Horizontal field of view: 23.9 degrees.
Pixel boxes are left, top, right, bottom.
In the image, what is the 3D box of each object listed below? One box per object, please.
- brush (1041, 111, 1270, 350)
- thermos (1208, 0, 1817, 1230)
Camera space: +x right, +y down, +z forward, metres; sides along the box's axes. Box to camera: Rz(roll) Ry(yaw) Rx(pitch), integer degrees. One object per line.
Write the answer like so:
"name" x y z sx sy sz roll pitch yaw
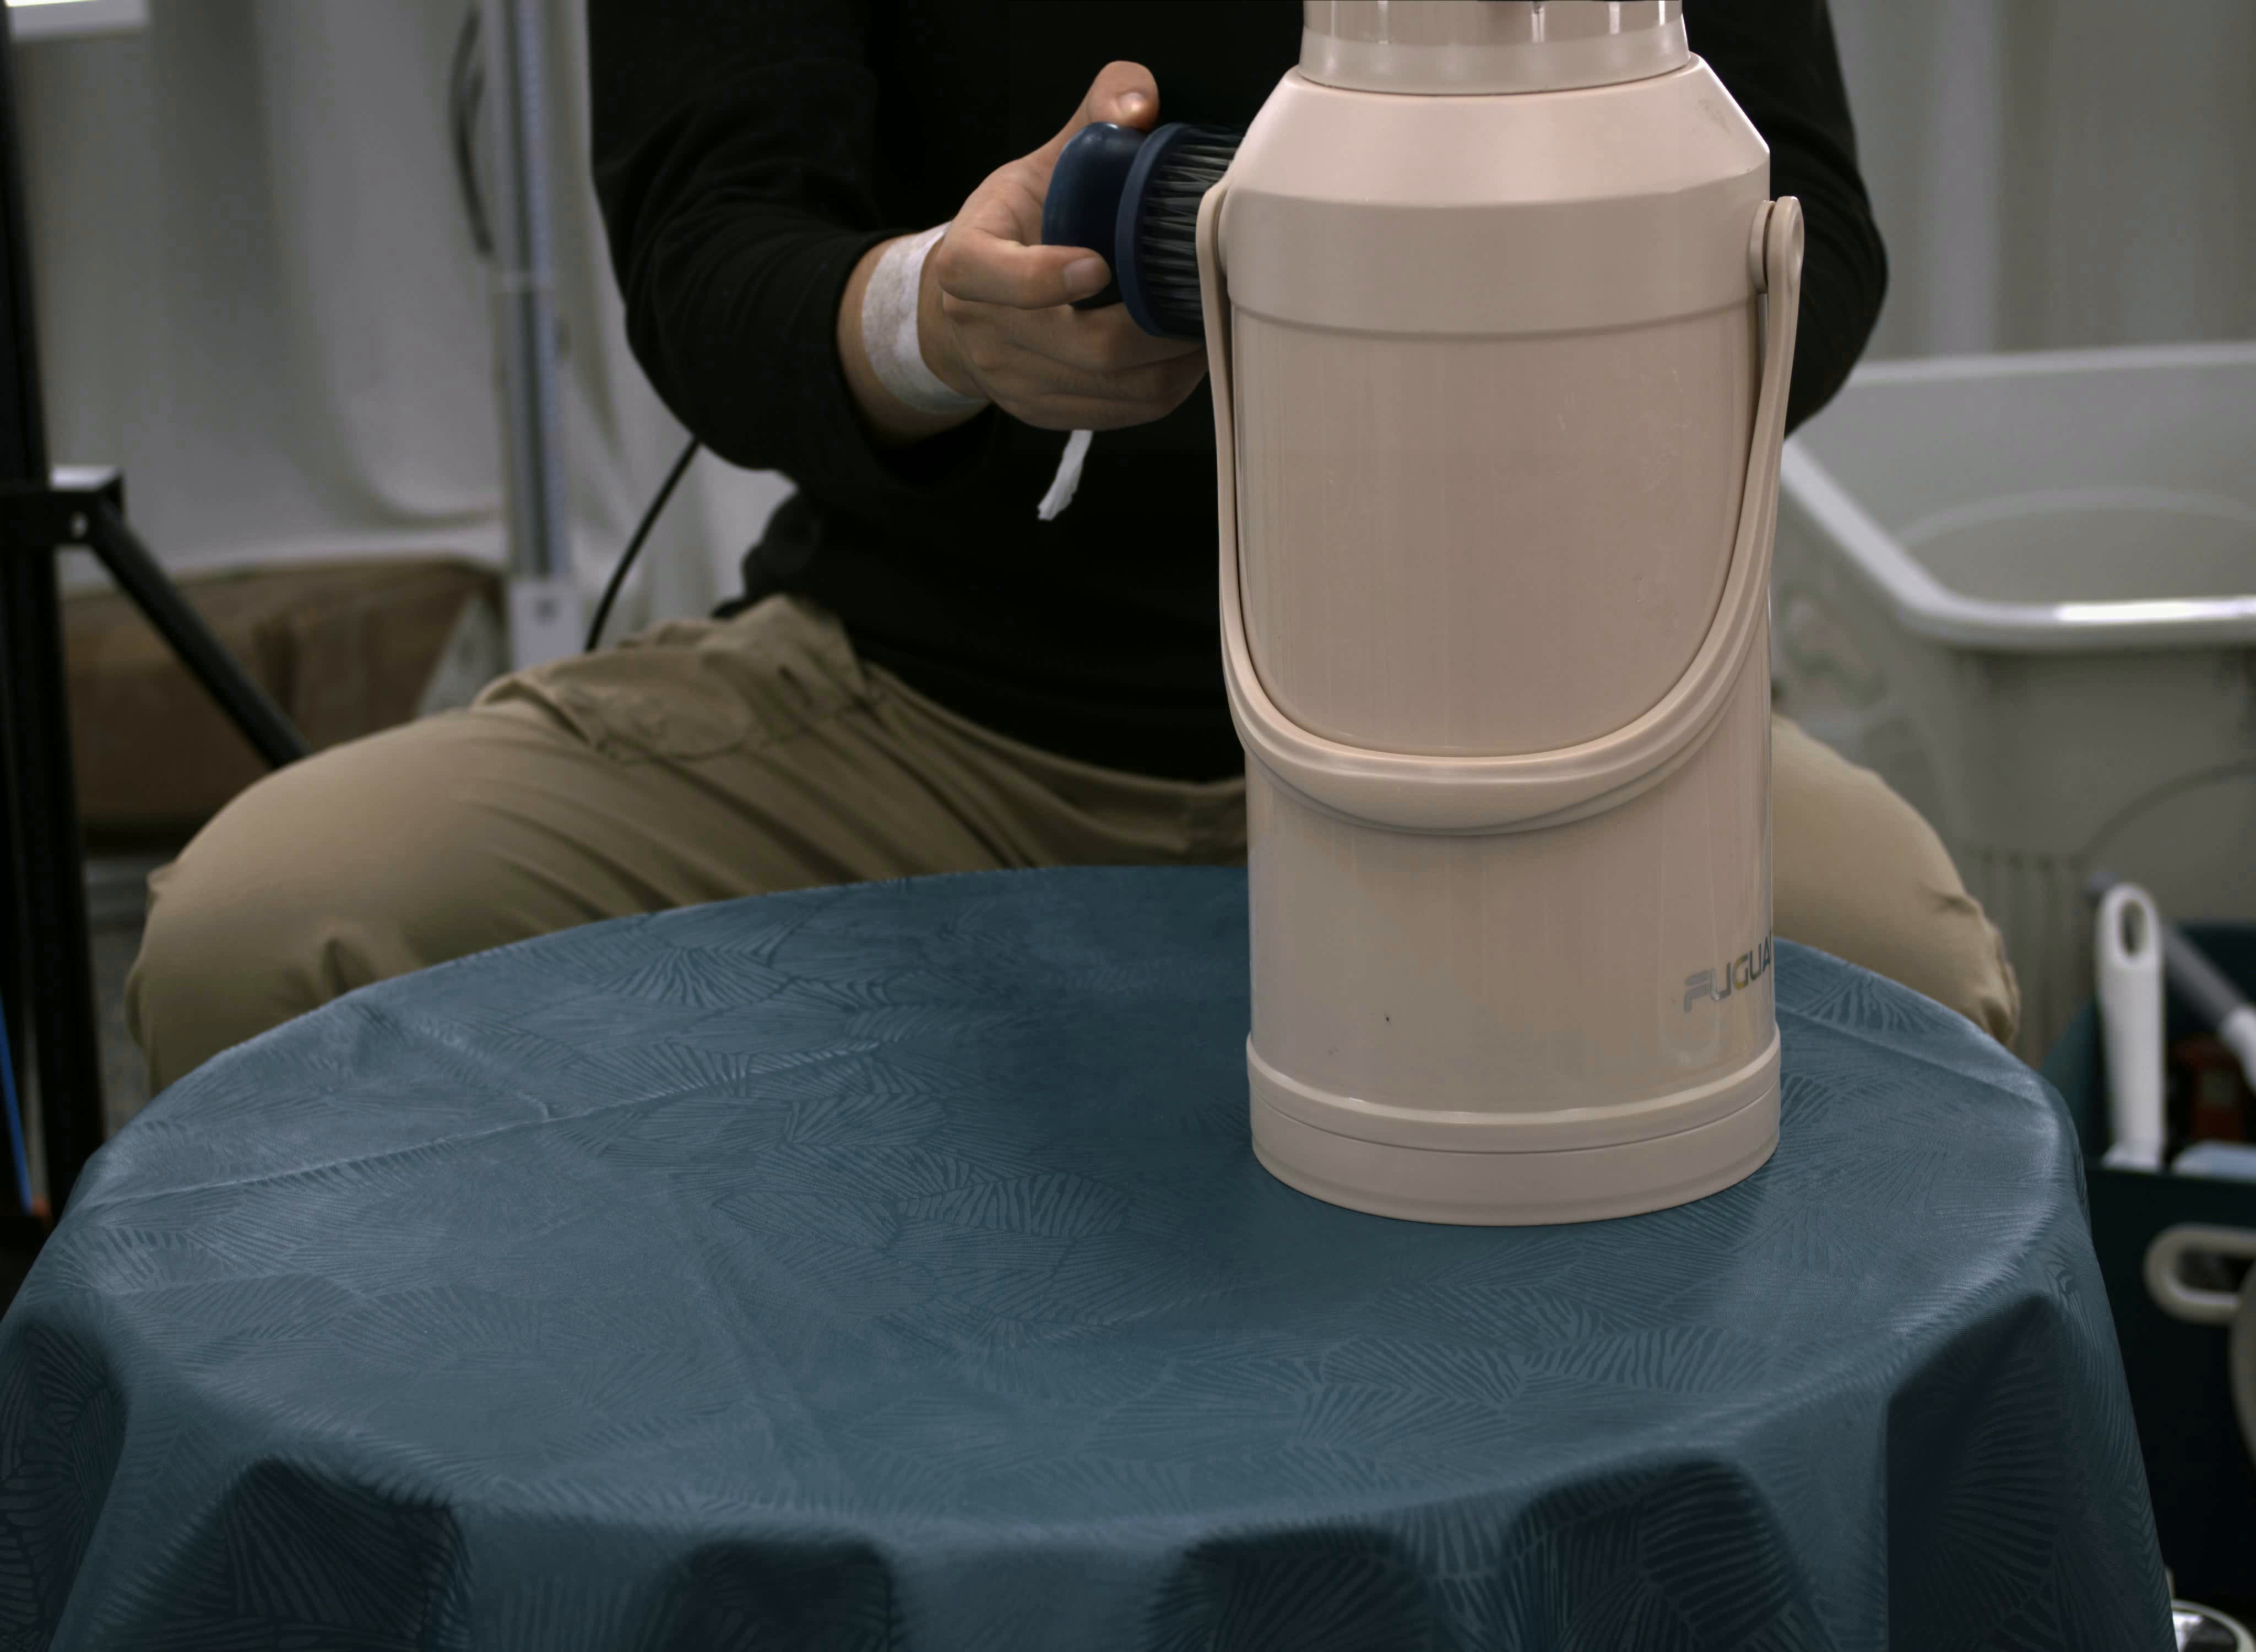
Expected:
"brush" 0.026 -0.177 1.601 0.062 0.068 0.119 10 6 30
"thermos" 0.118 -0.101 1.549 0.177 0.406 0.205 2 16 20
